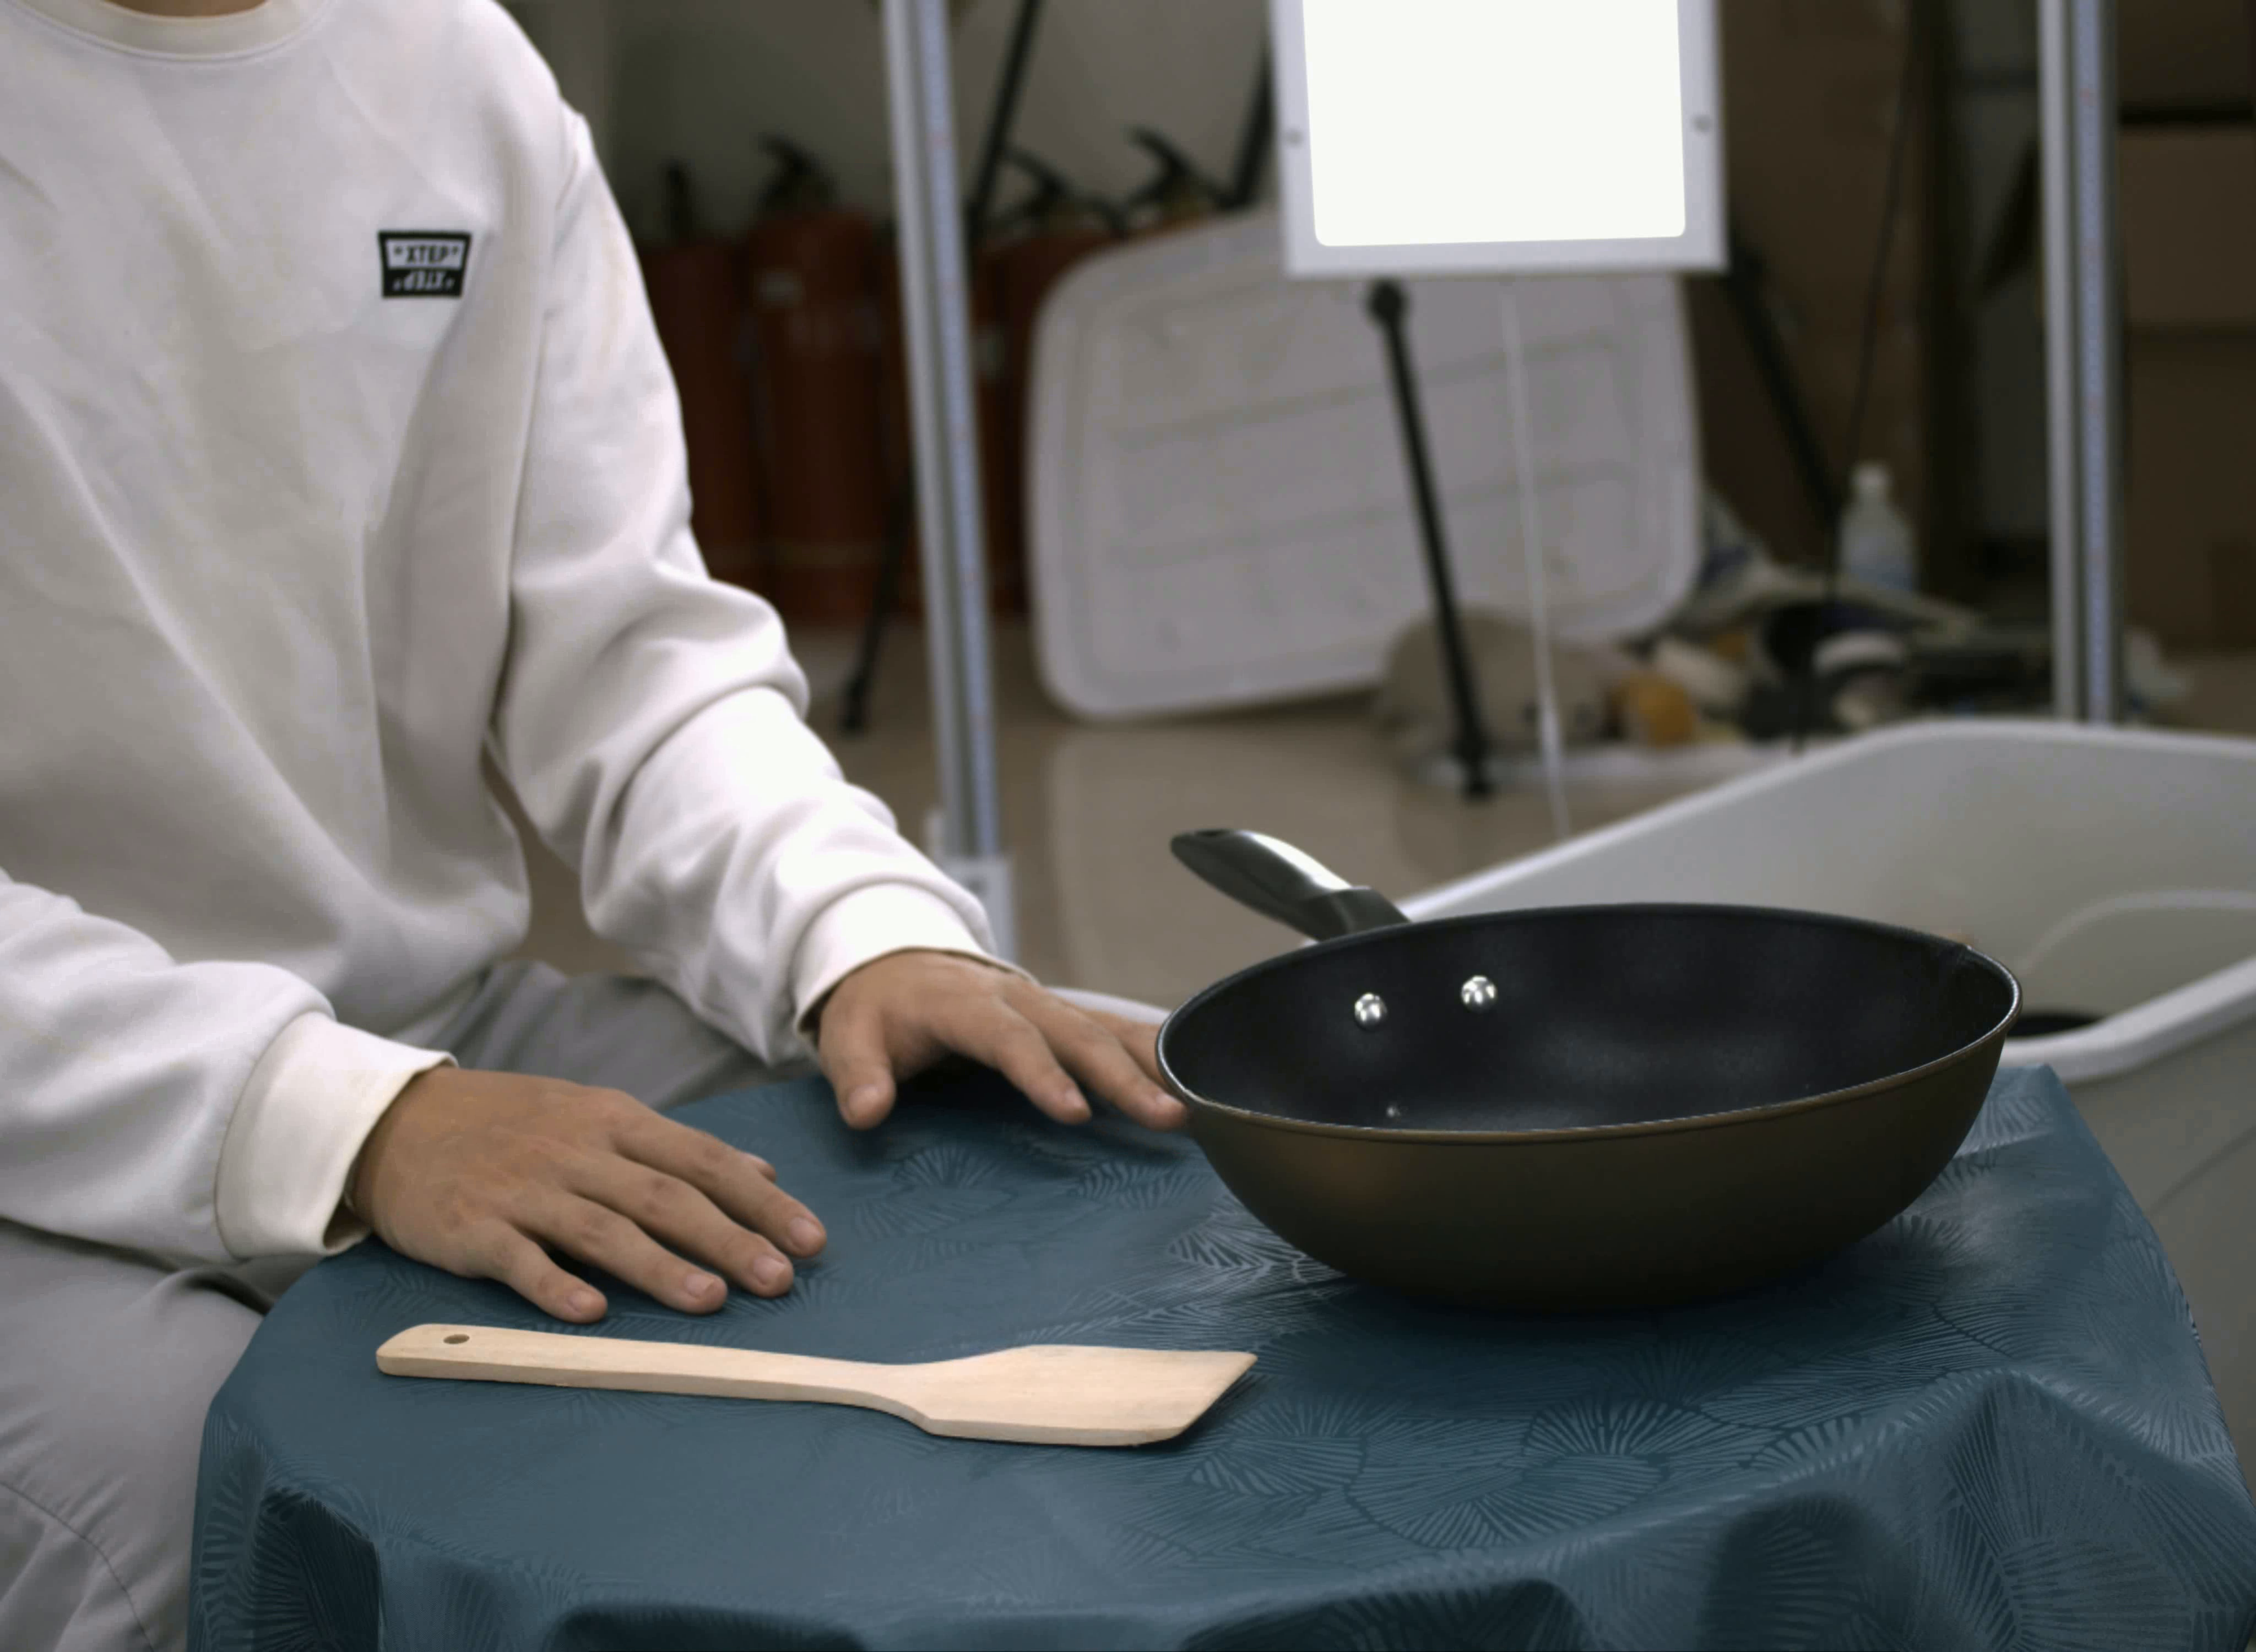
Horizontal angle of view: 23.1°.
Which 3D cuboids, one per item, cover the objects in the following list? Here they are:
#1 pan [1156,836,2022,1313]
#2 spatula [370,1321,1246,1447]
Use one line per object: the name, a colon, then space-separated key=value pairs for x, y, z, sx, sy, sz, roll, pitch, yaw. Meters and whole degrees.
pan: x=0.118 y=0.081 z=1.871 sx=0.283 sy=0.087 sz=0.469 roll=-9 pitch=13 yaw=-20
spatula: x=-0.108 y=0.172 z=1.731 sx=0.297 sy=0.011 sz=0.071 roll=1 pitch=16 yaw=25
